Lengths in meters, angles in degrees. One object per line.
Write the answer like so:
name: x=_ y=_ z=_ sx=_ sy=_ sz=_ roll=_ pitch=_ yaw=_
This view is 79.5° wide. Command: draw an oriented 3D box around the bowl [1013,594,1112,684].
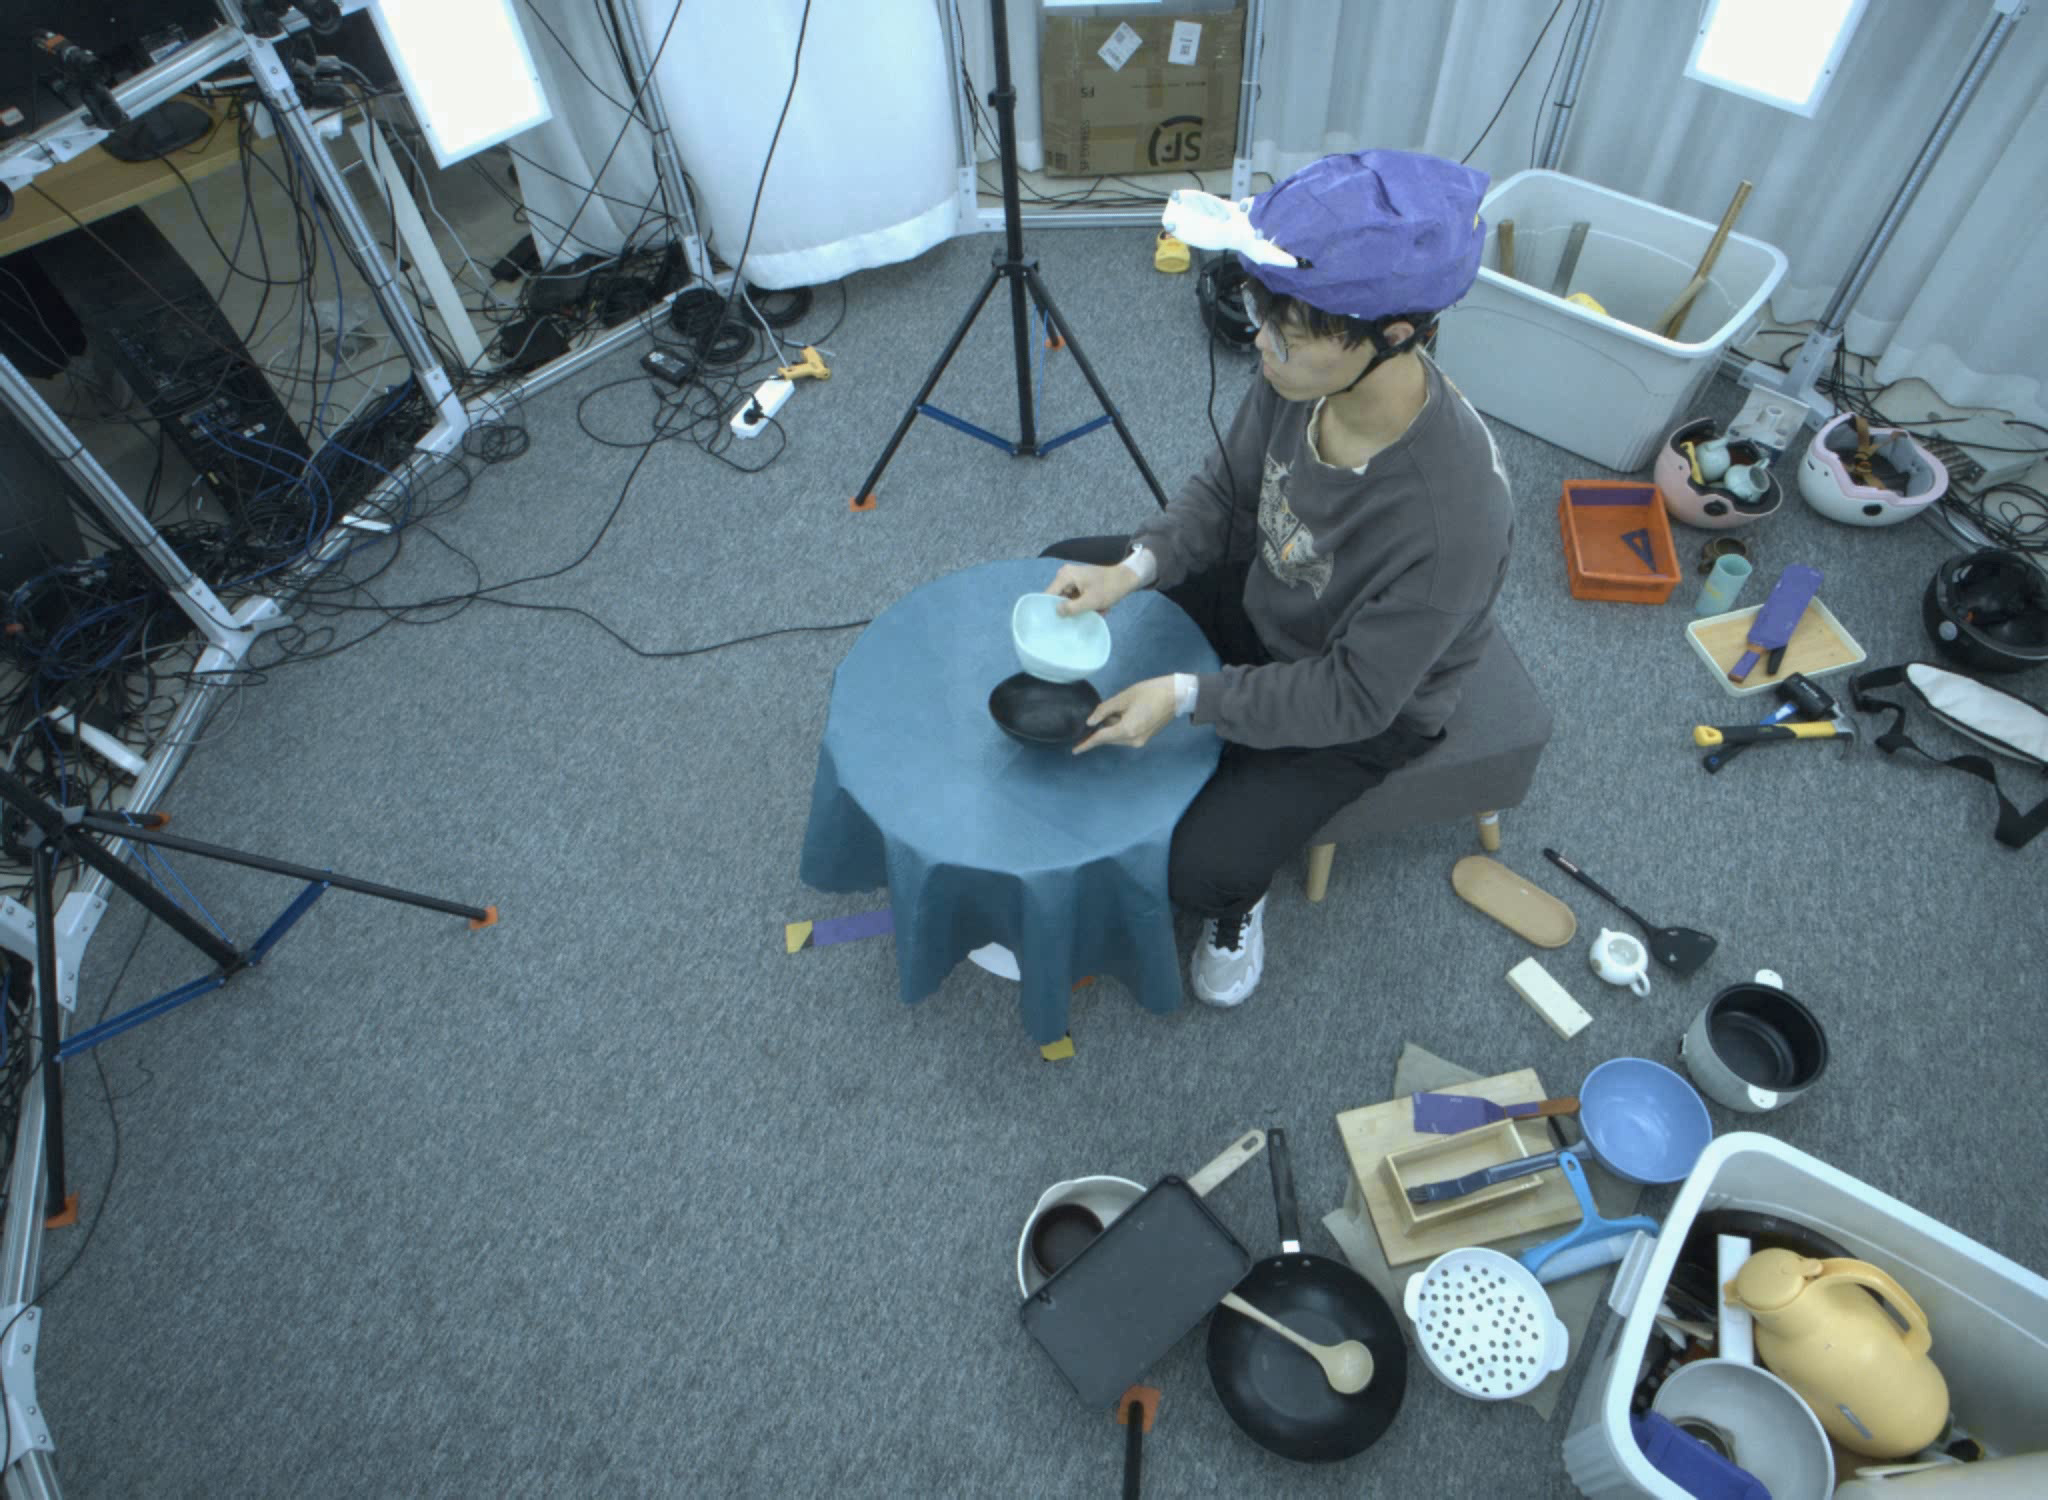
bowl: x=0.045 y=-0.141 z=1.672 sx=0.153 sy=0.058 sz=0.150 roll=13 pitch=49 yaw=-14

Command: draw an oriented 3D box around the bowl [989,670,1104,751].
bowl: x=0.031 y=-0.047 z=1.757 sx=0.168 sy=0.067 sz=0.137 roll=16 pitch=53 yaw=15
